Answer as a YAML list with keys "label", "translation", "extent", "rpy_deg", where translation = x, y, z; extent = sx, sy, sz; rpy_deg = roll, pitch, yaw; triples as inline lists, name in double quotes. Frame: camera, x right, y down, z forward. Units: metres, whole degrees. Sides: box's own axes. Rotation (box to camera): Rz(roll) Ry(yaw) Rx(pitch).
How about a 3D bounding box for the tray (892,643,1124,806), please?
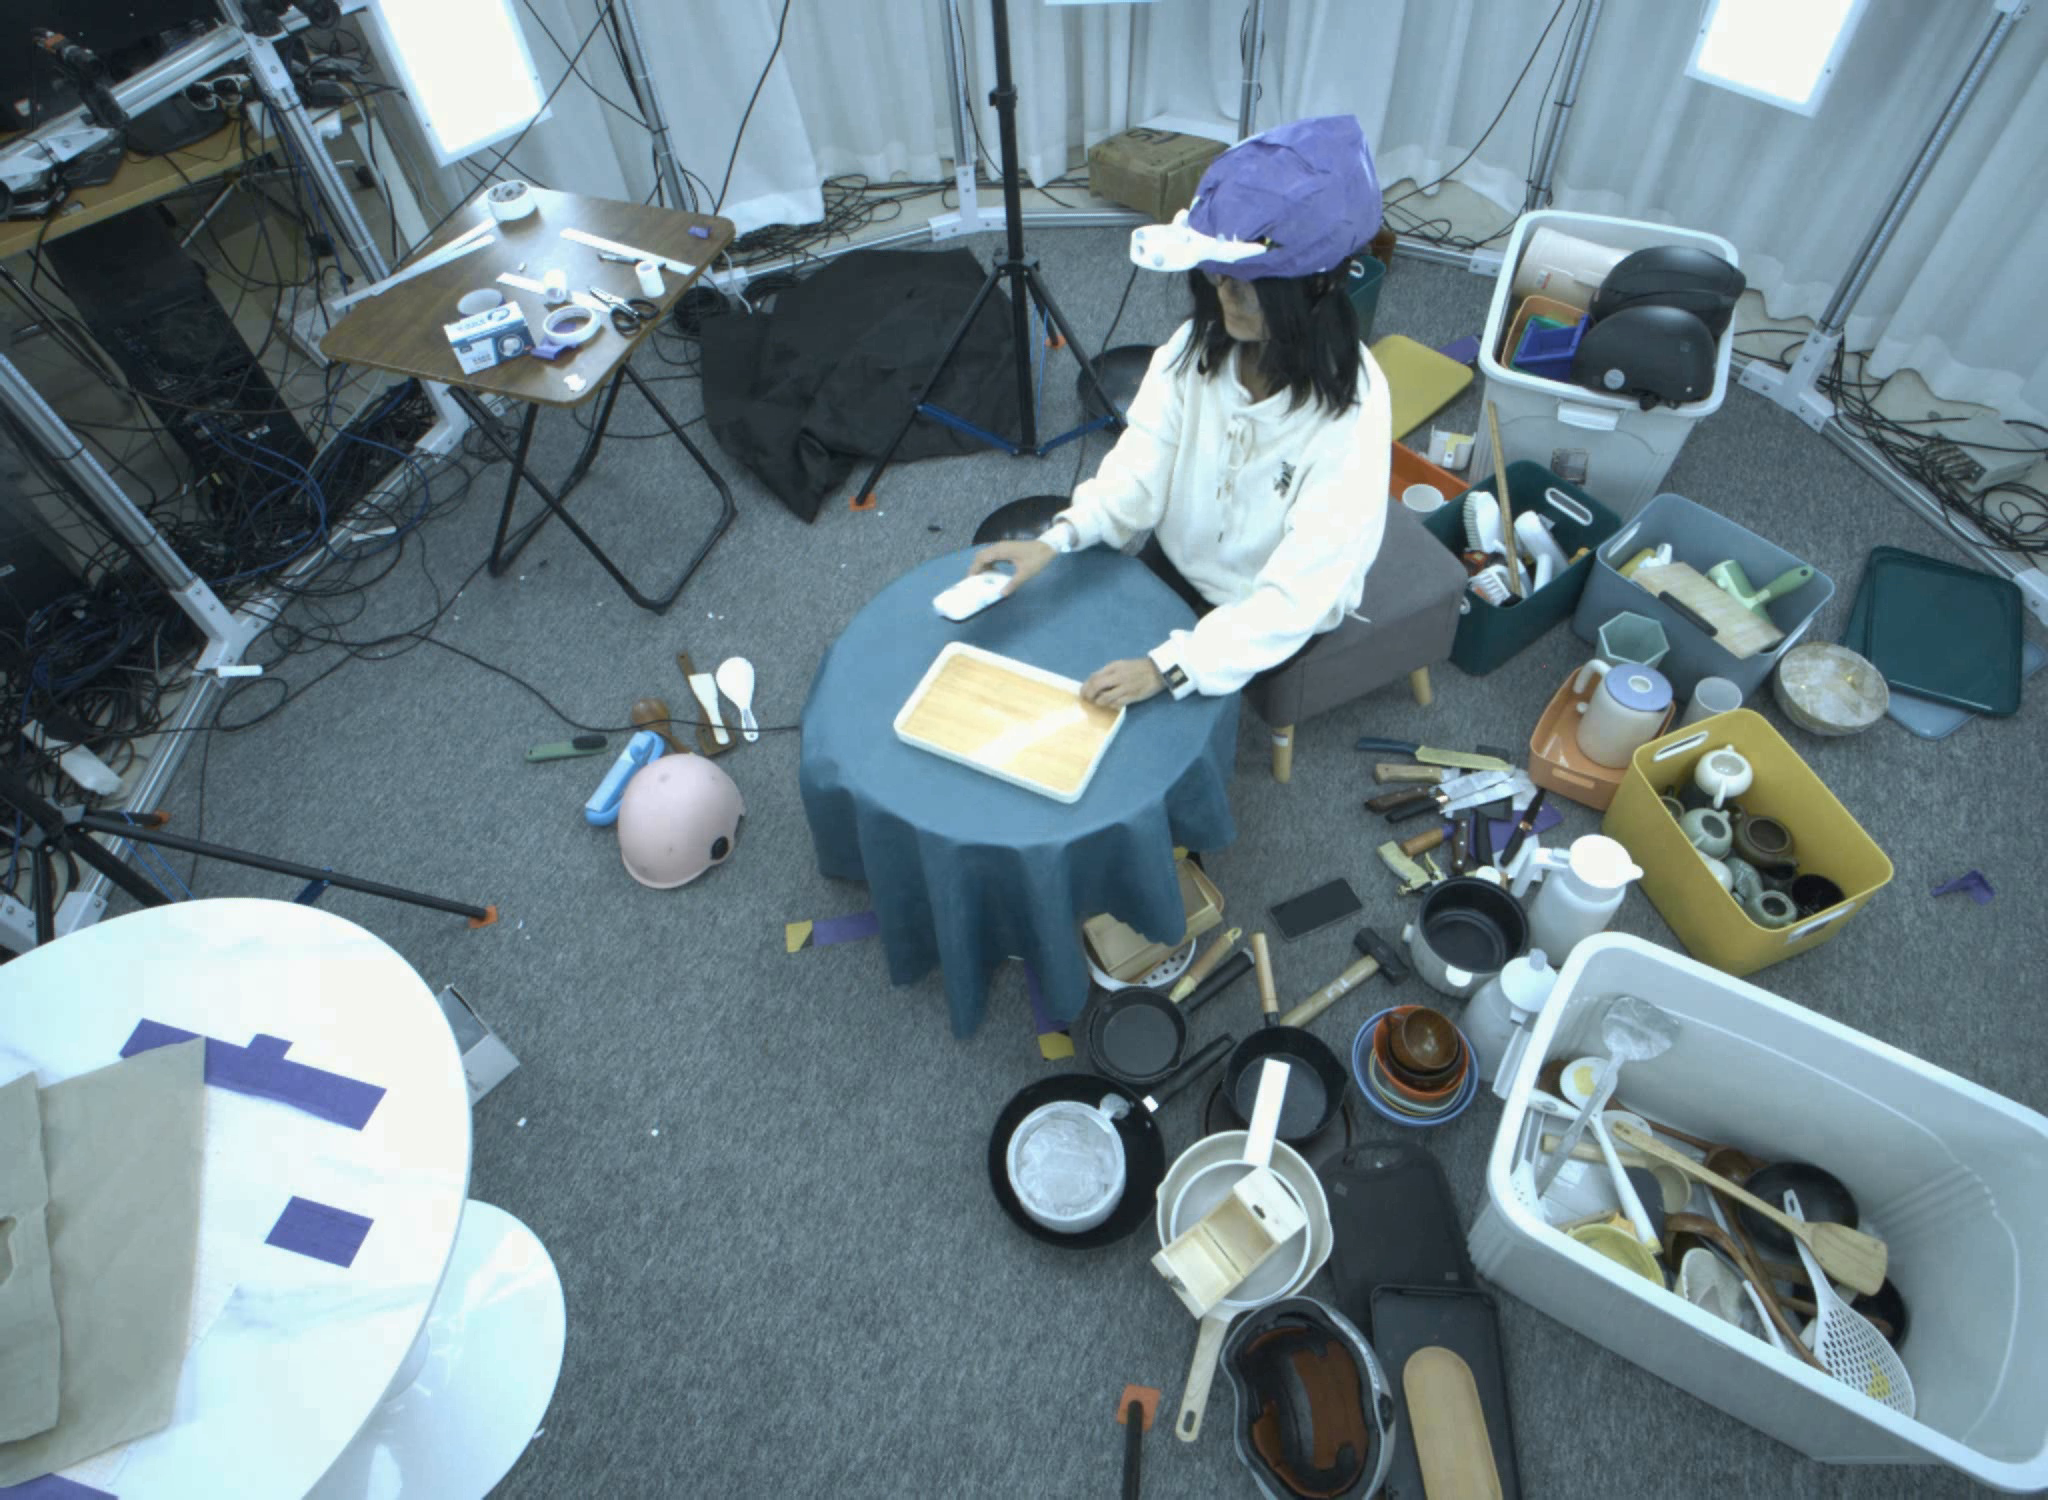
- label: "tray"
  translation: [-0.023, -0.042, 1.802]
  extent: [0.296, 0.028, 0.192]
  rpy_deg: [21, 58, 16]

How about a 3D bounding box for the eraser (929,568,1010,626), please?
- label: "eraser"
  translation: [-0.082, -0.238, 1.884]
  extent: [0.132, 0.035, 0.062]
  rpy_deg: [-34, 47, -28]
